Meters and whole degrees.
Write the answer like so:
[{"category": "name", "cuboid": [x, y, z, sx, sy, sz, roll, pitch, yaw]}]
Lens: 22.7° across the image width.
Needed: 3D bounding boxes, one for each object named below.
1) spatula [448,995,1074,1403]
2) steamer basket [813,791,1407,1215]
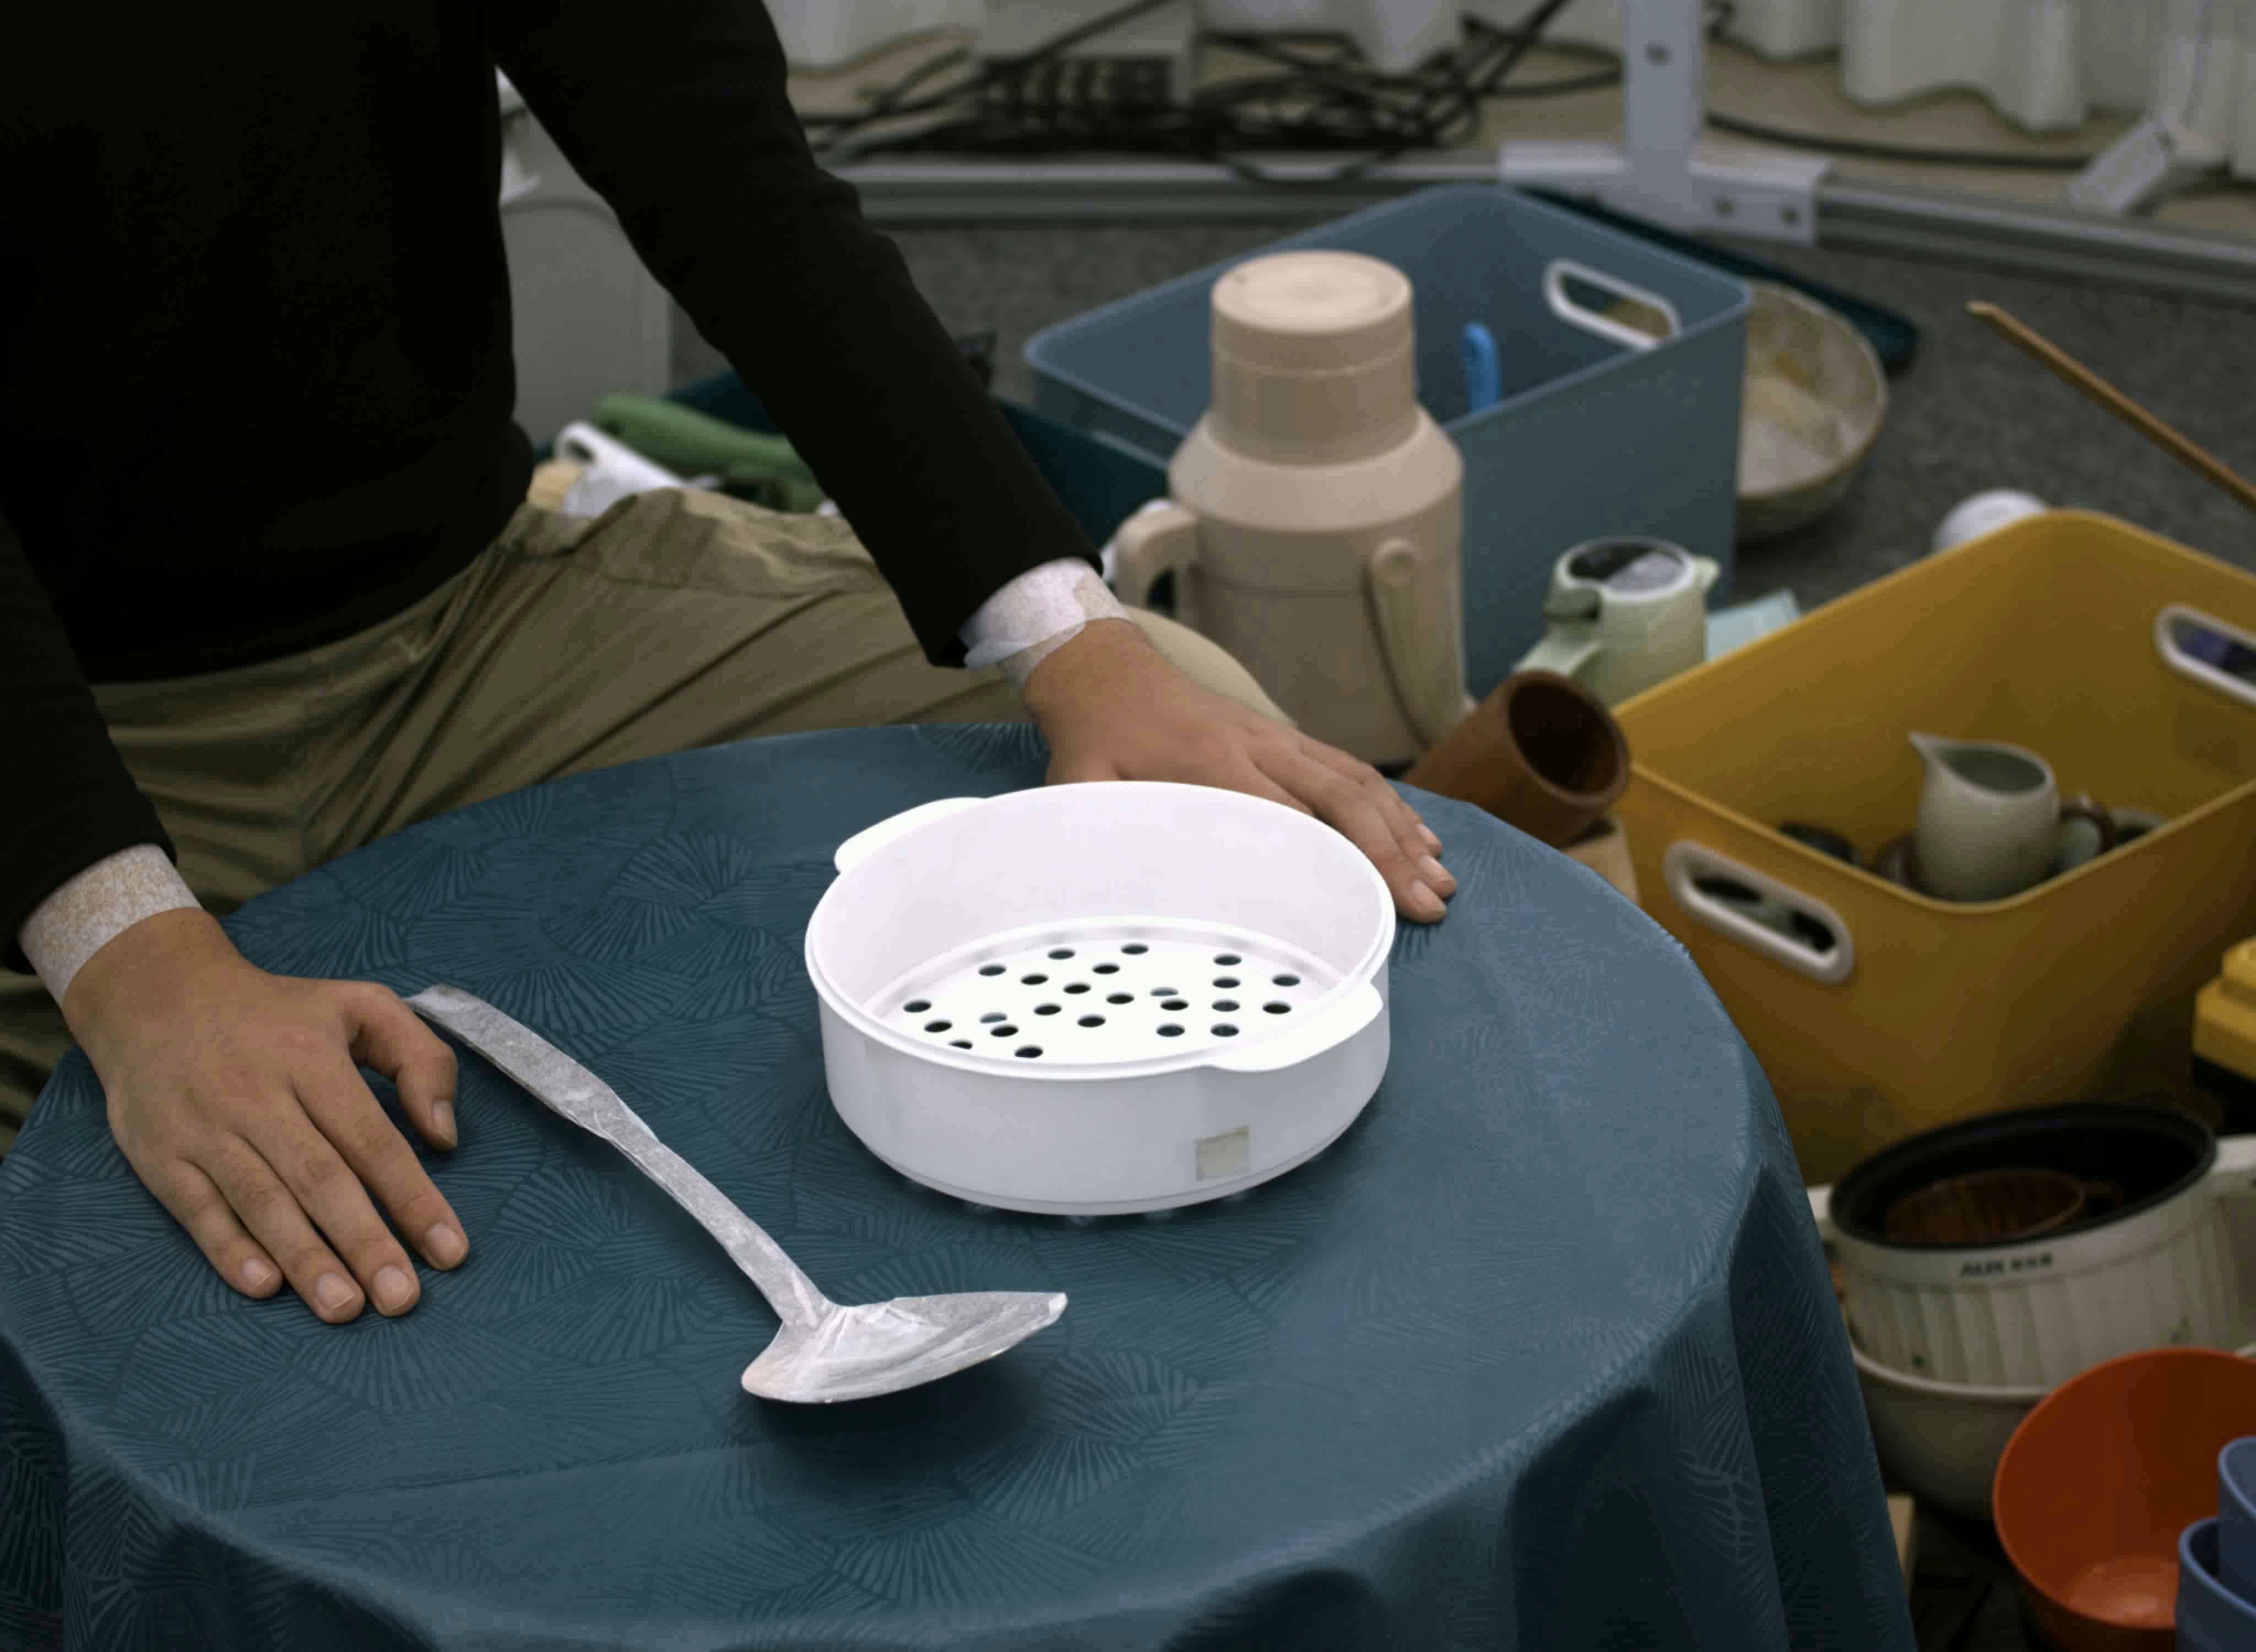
[{"category": "spatula", "cuboid": [-0.145, 0.114, 1.850, 0.099, 0.044, 0.366, -21, 32, -27]}, {"category": "steamer basket", "cuboid": [-0.005, 0.060, 1.905, 0.204, 0.068, 0.230, -23, 32, -35]}]
